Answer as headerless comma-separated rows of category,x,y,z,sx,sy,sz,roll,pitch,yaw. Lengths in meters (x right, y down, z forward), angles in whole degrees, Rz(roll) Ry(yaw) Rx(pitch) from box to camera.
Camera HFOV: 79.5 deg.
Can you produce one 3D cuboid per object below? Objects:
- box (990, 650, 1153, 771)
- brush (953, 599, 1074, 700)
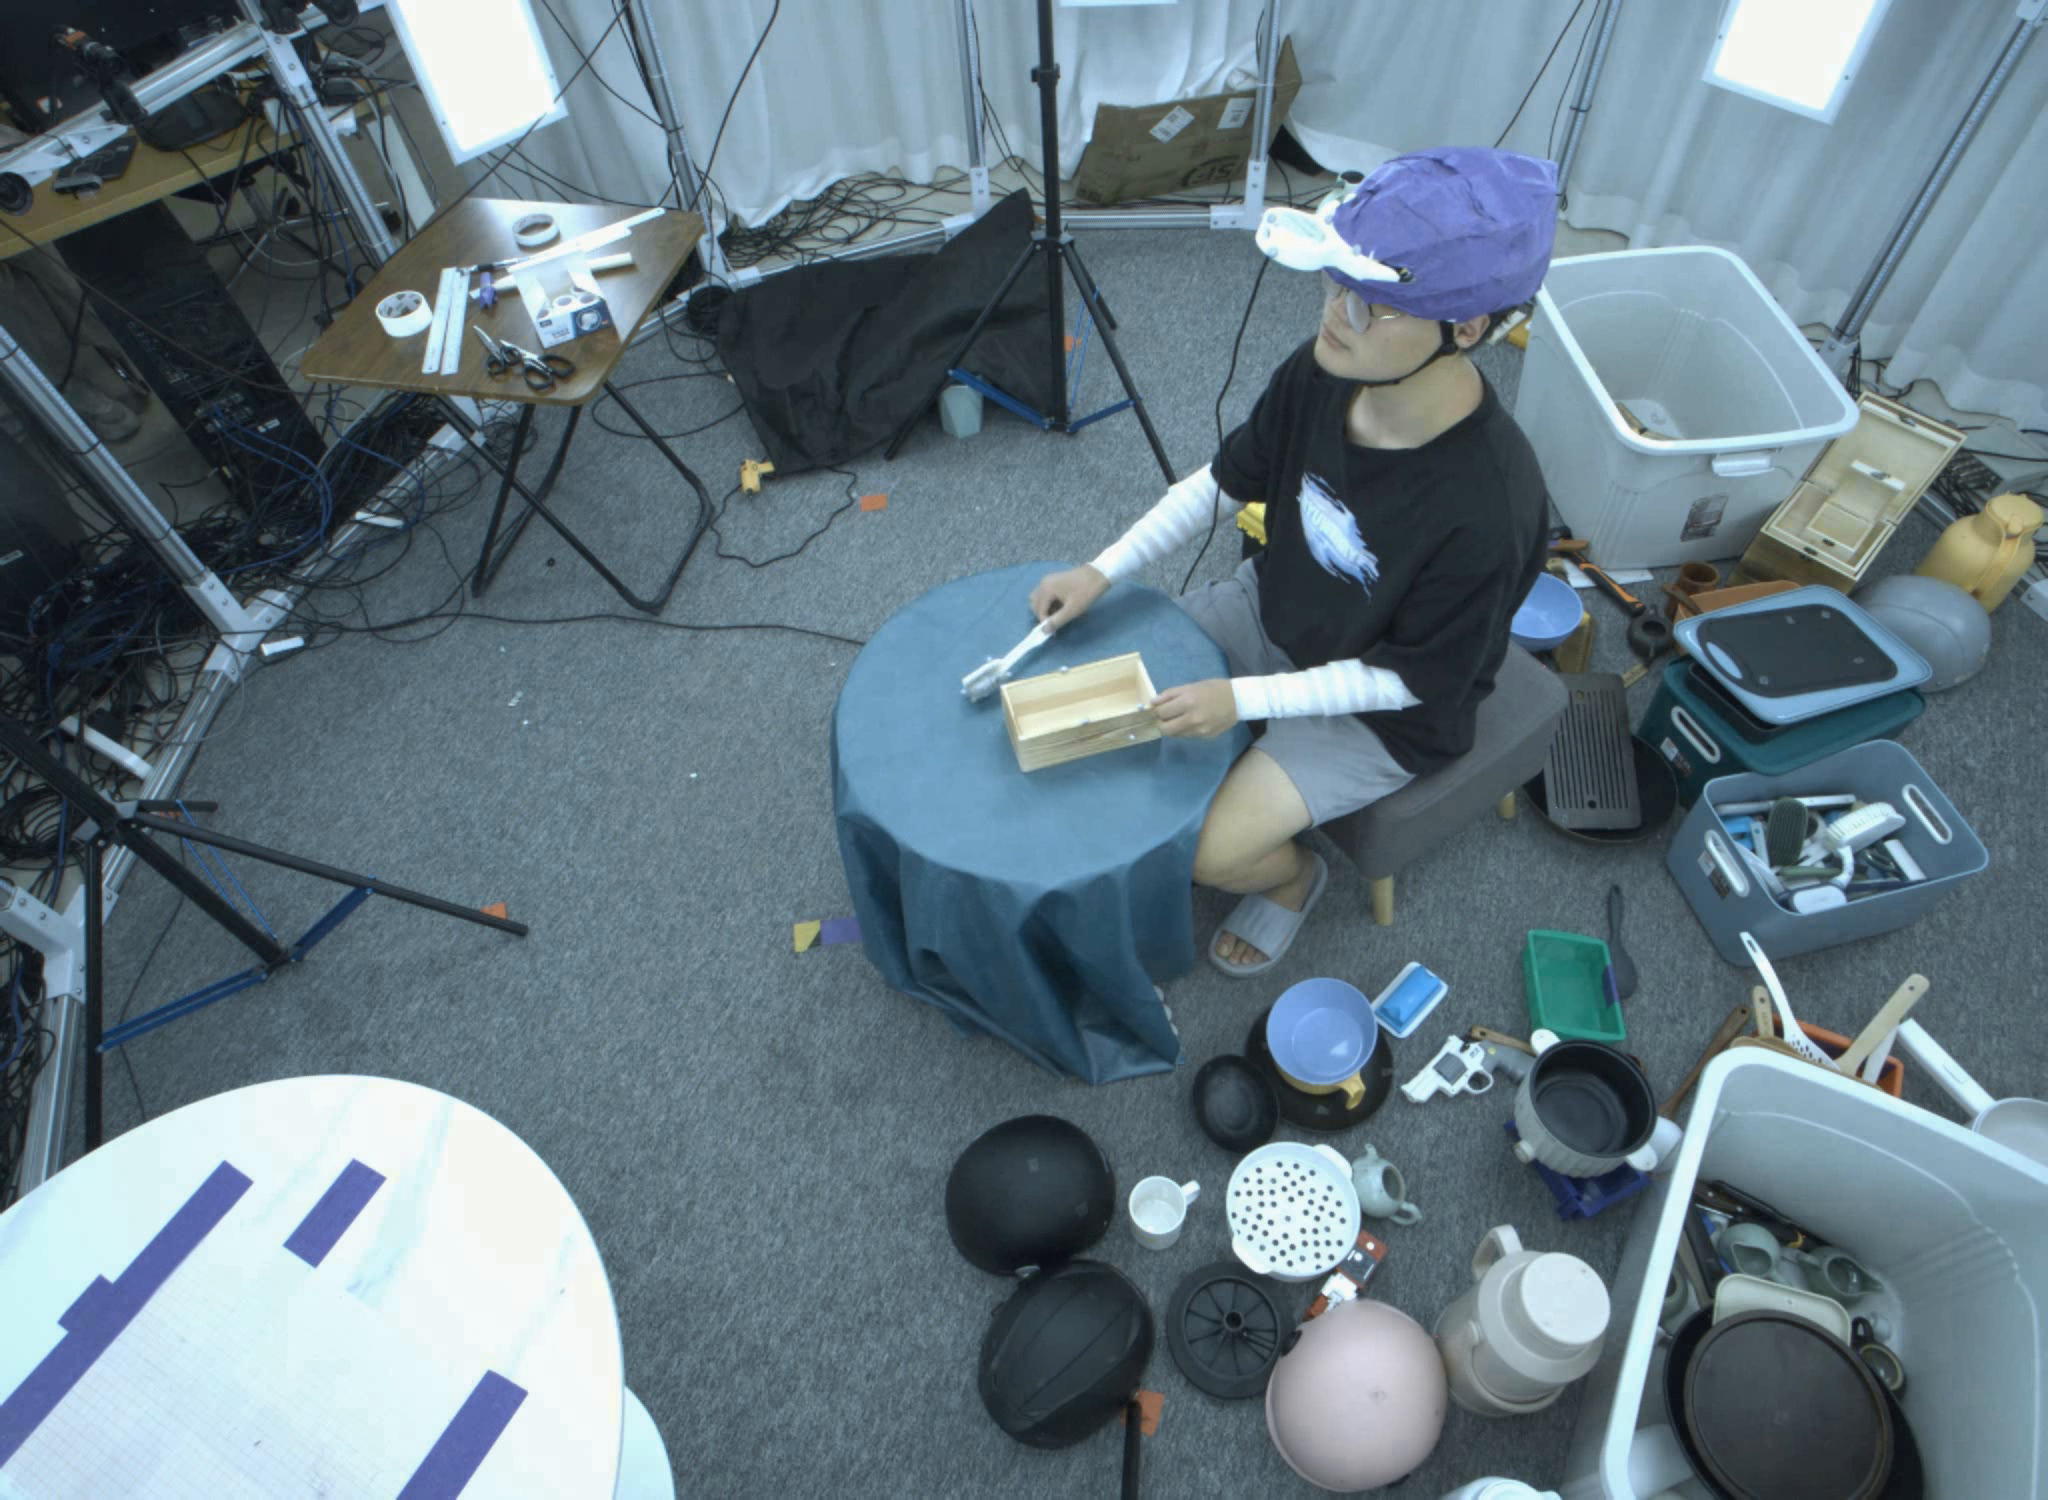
box,0.068,-0.058,1.769,0.213,0.081,0.106,-15,55,-9
brush,-0.008,-0.155,1.850,0.245,0.035,0.049,-37,24,-18
